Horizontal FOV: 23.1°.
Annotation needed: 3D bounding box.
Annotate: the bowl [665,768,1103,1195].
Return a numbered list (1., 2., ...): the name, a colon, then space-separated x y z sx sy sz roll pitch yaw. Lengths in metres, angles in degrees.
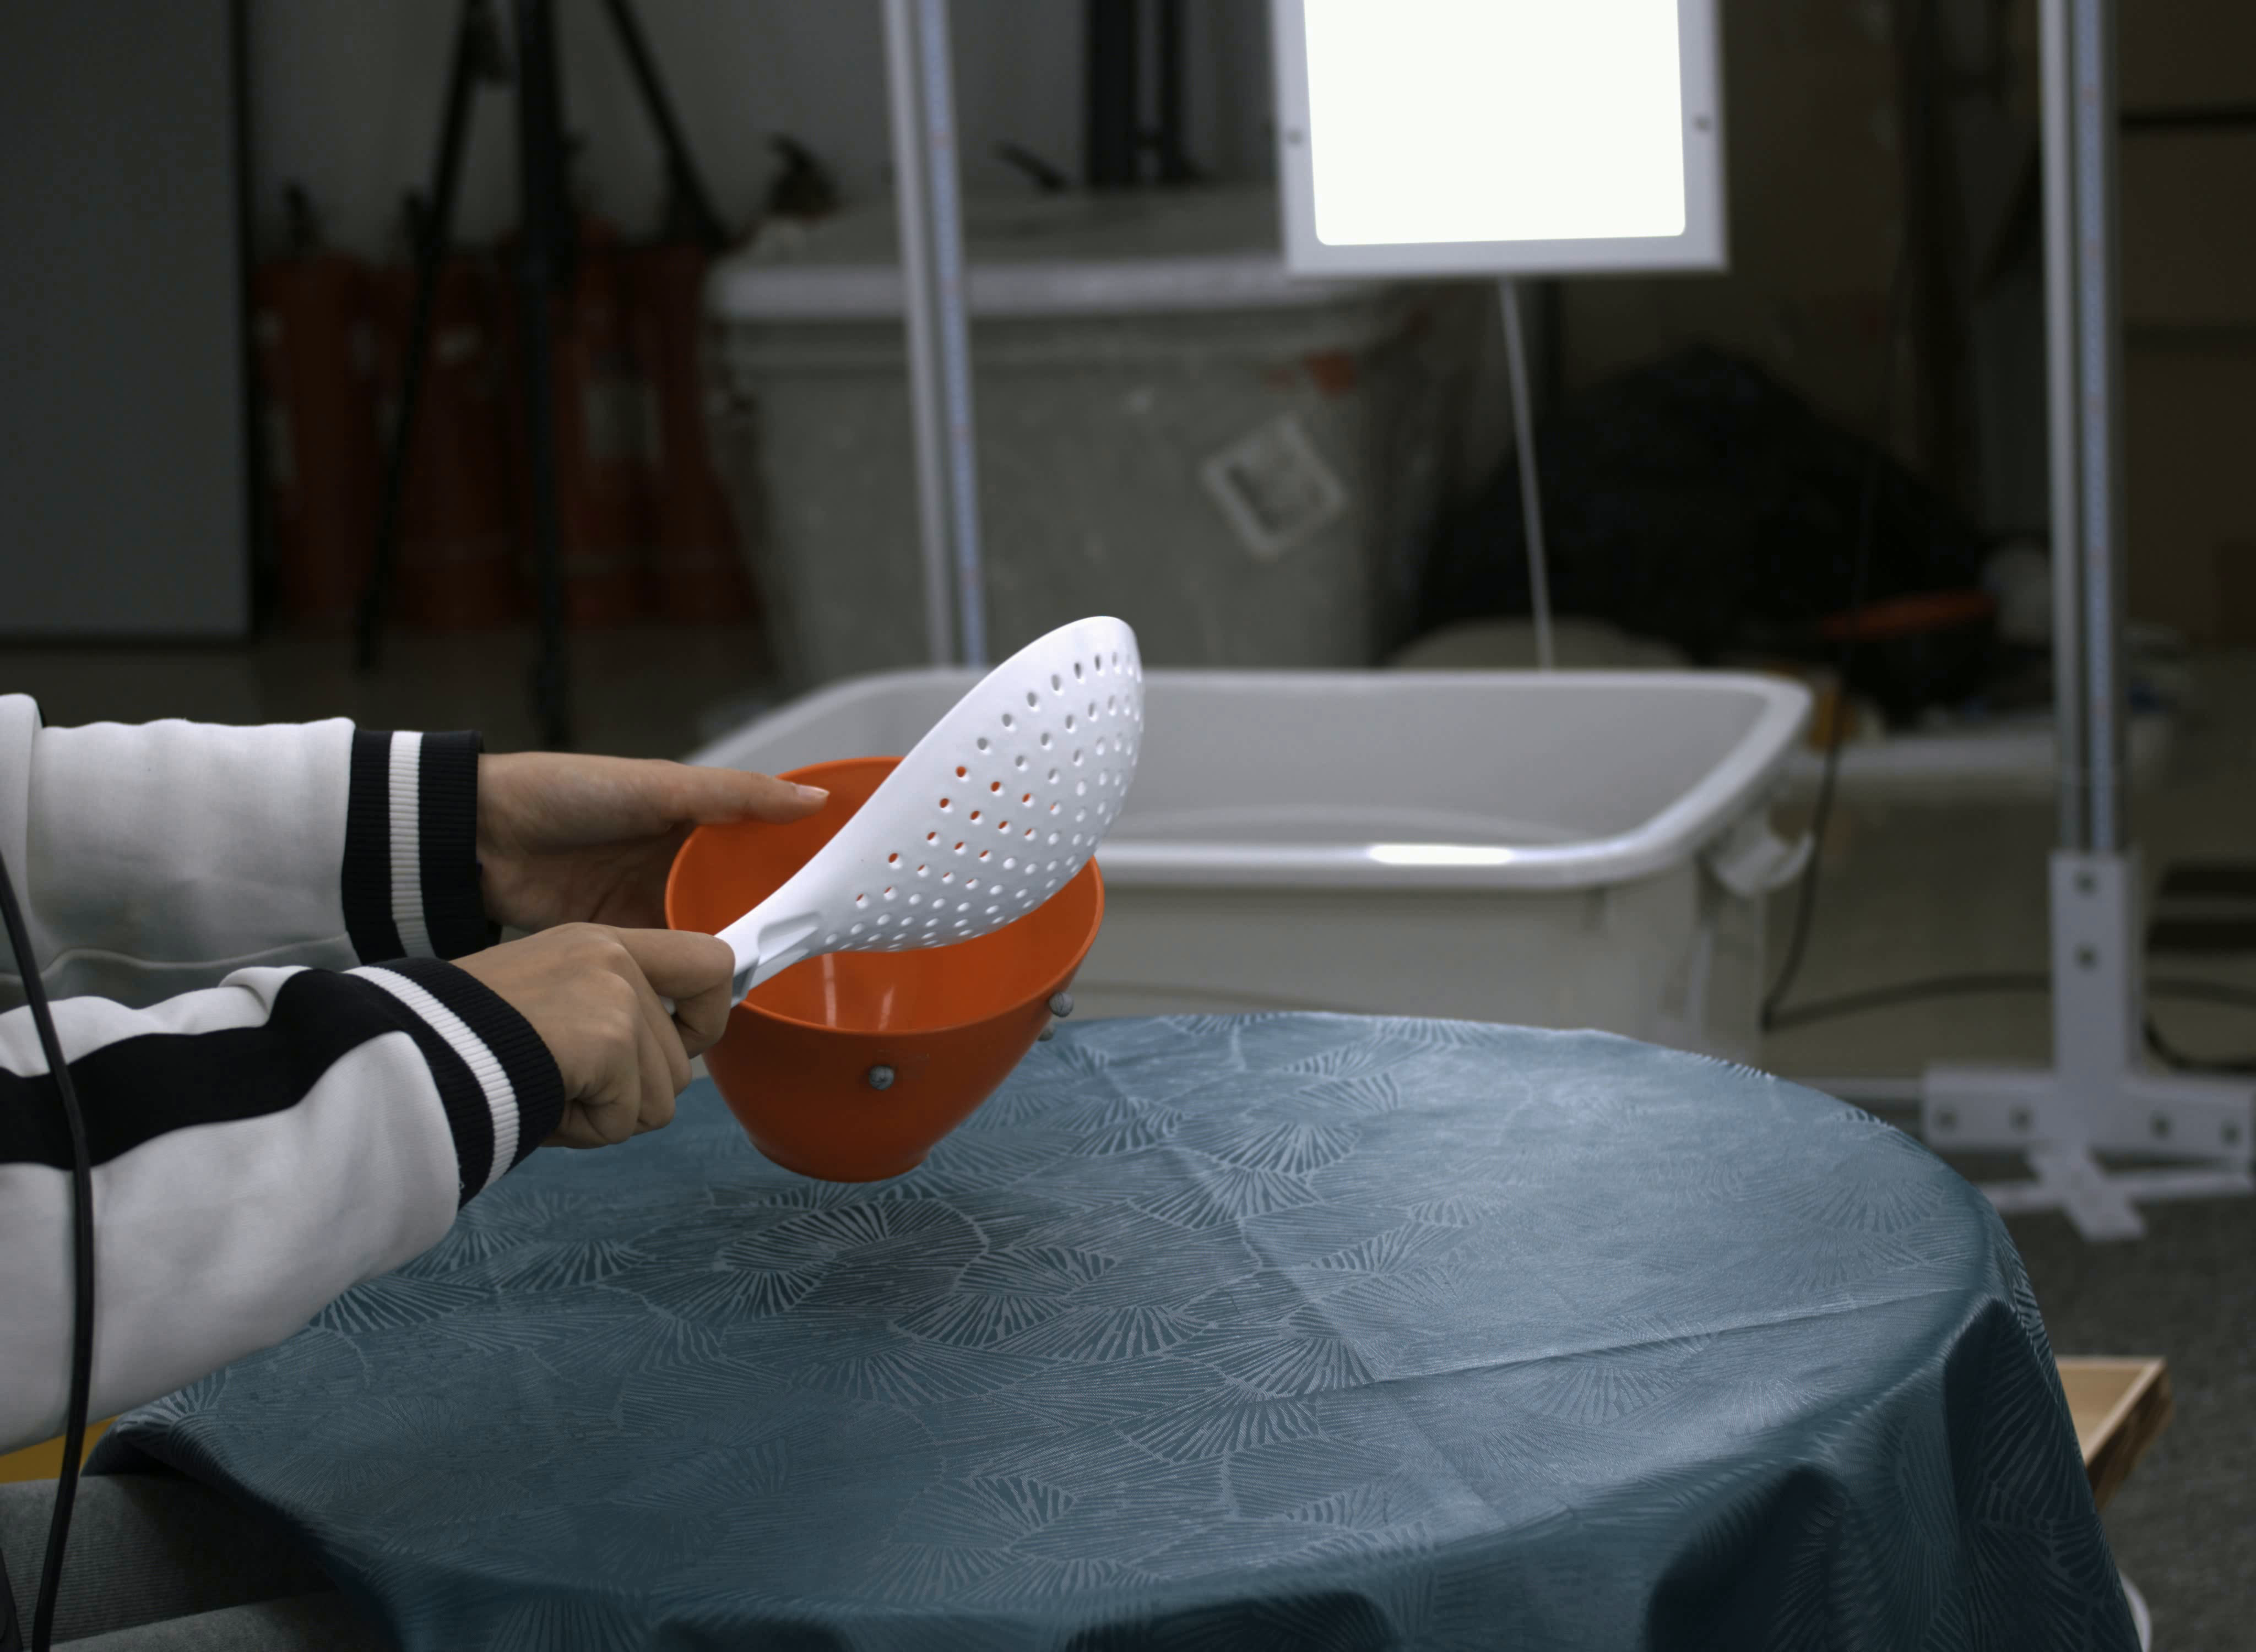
1. bowl: -0.086 0.060 1.878 0.147 0.105 0.147 4 31 -4

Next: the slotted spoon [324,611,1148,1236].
1. slotted spoon: -0.112 0.035 1.705 0.342 0.138 0.046 -27 62 -34
